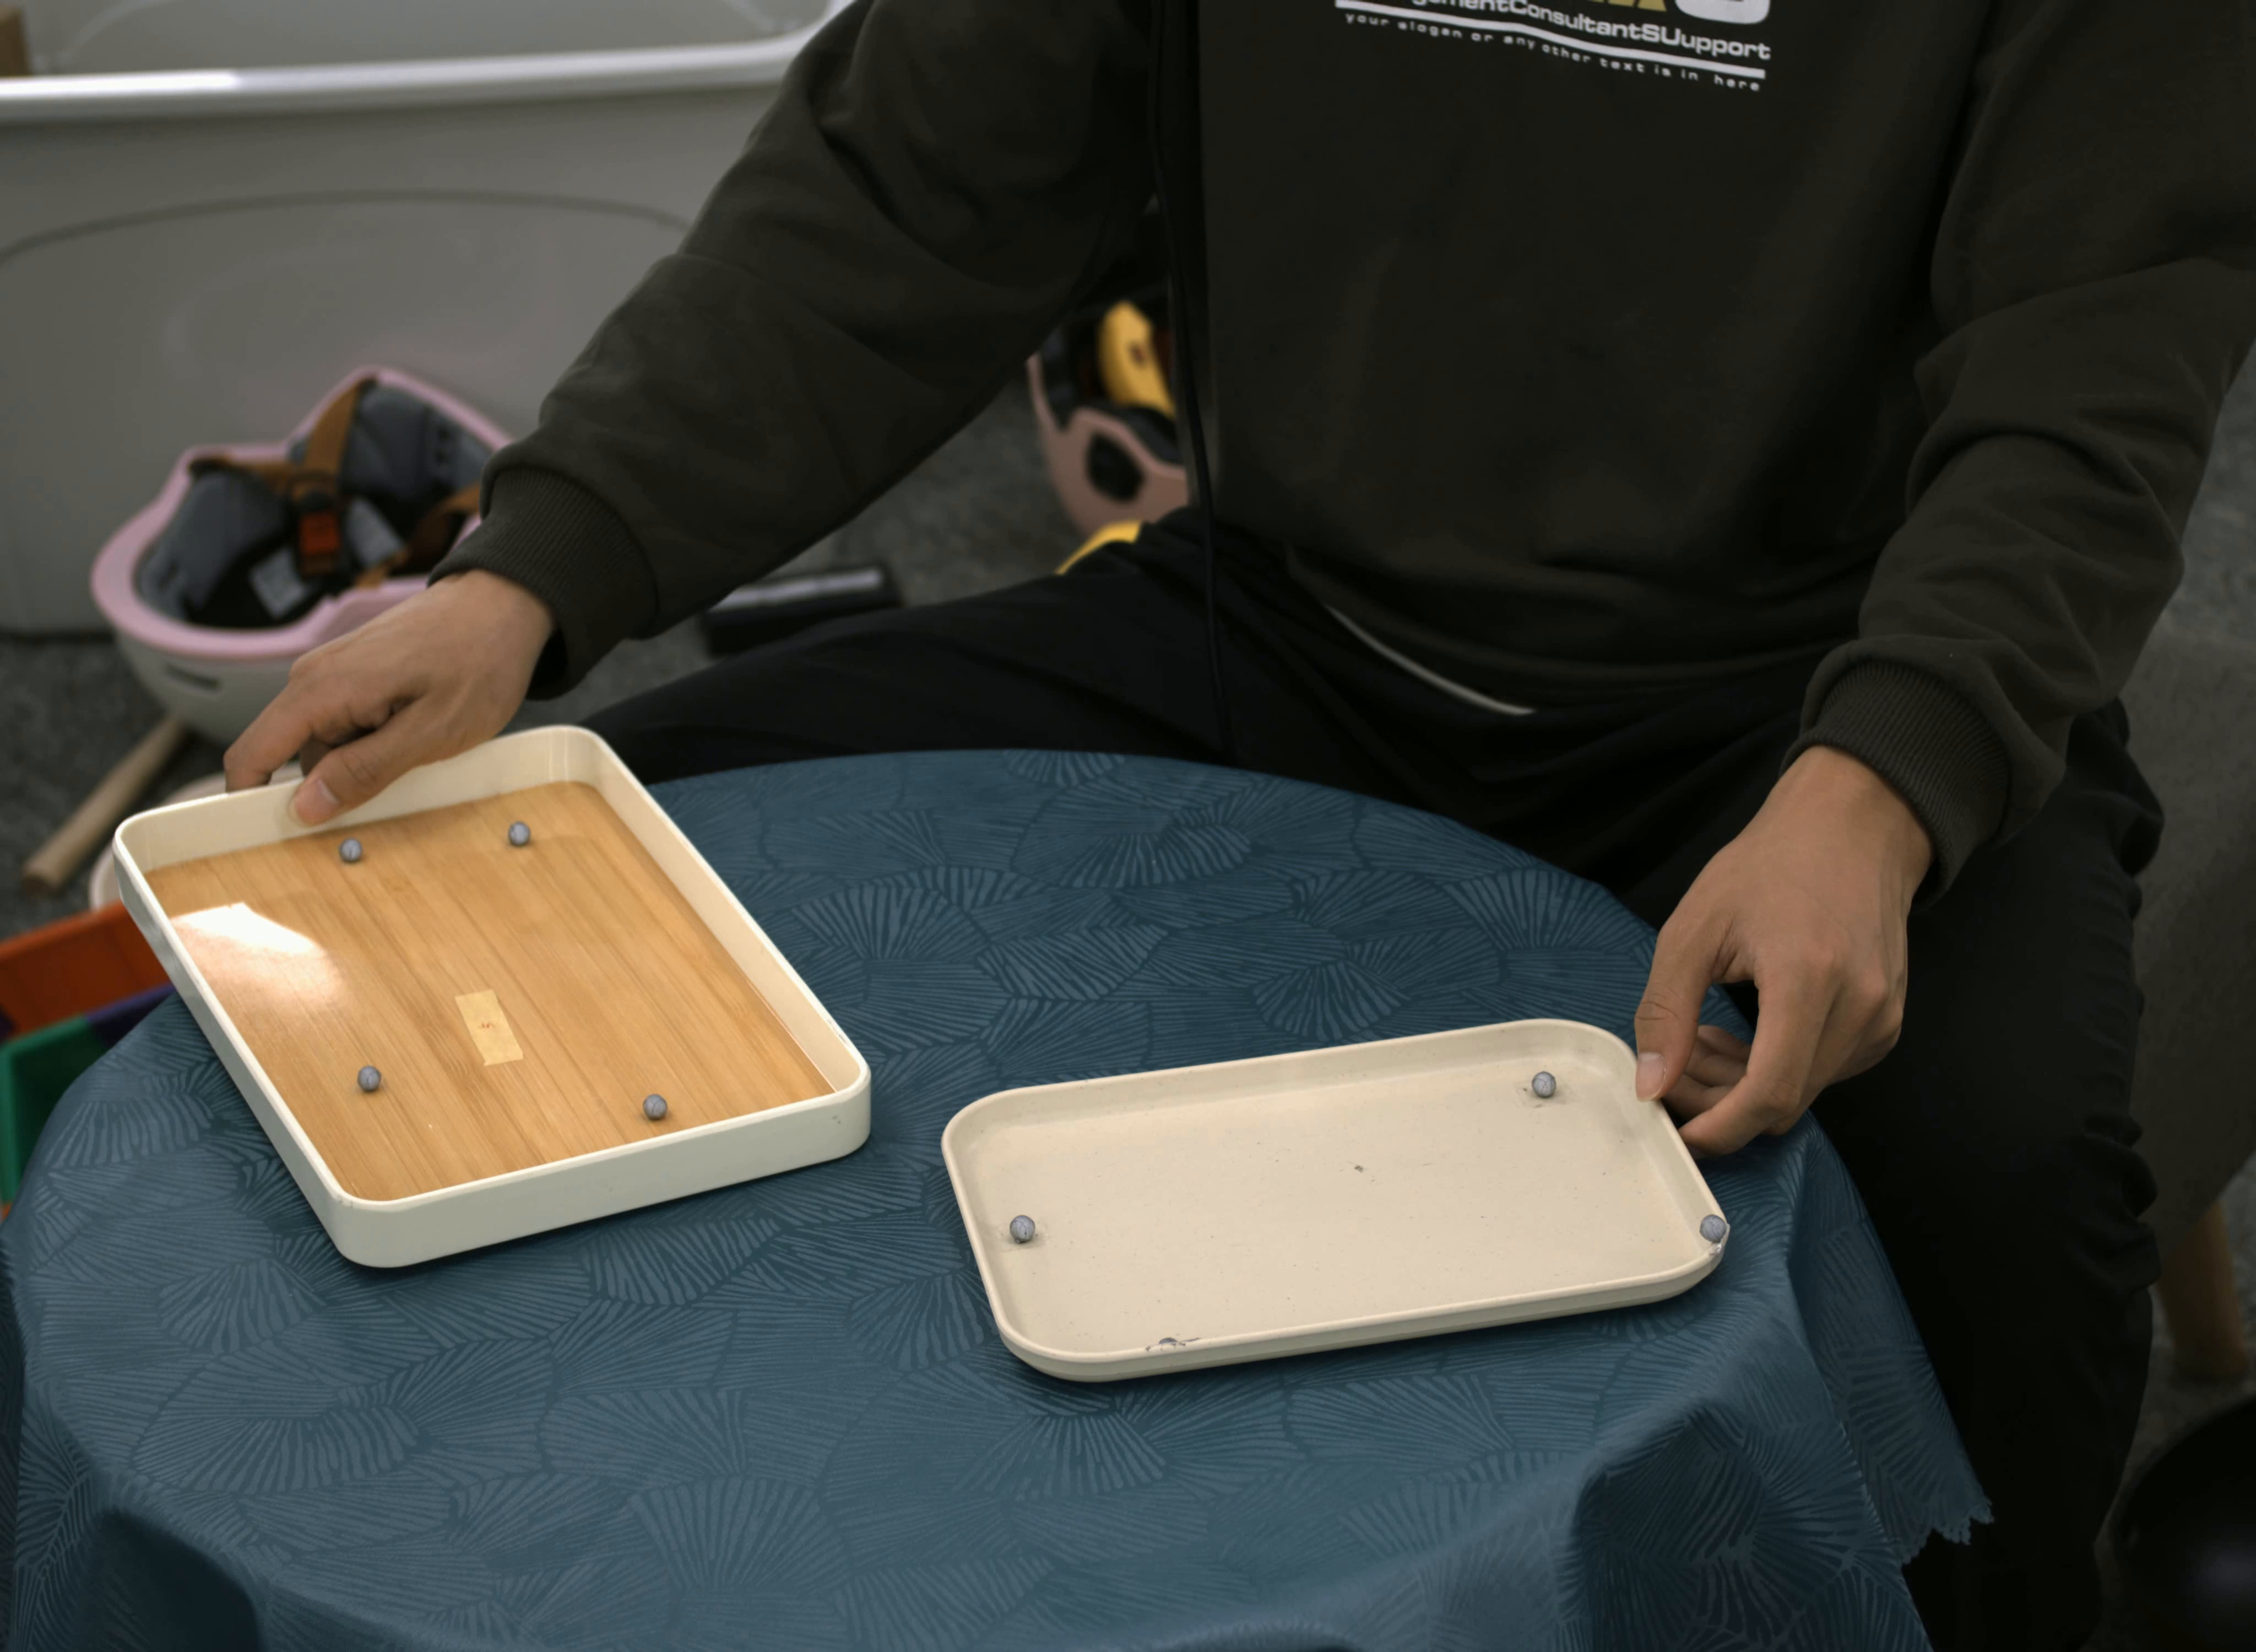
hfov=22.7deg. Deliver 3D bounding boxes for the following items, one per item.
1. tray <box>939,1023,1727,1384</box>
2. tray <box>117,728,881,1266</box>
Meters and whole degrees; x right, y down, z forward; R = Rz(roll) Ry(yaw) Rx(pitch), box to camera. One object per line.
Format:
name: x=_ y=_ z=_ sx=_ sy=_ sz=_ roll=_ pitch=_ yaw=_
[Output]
tray: x=0.065 y=0.124 z=1.838 sx=0.239 sy=0.017 sz=0.173 roll=-7 pitch=27 yaw=-9
tray: x=-0.225 y=0.055 z=1.974 sx=0.192 sy=0.027 sz=0.302 roll=-12 pitch=30 yaw=-22
